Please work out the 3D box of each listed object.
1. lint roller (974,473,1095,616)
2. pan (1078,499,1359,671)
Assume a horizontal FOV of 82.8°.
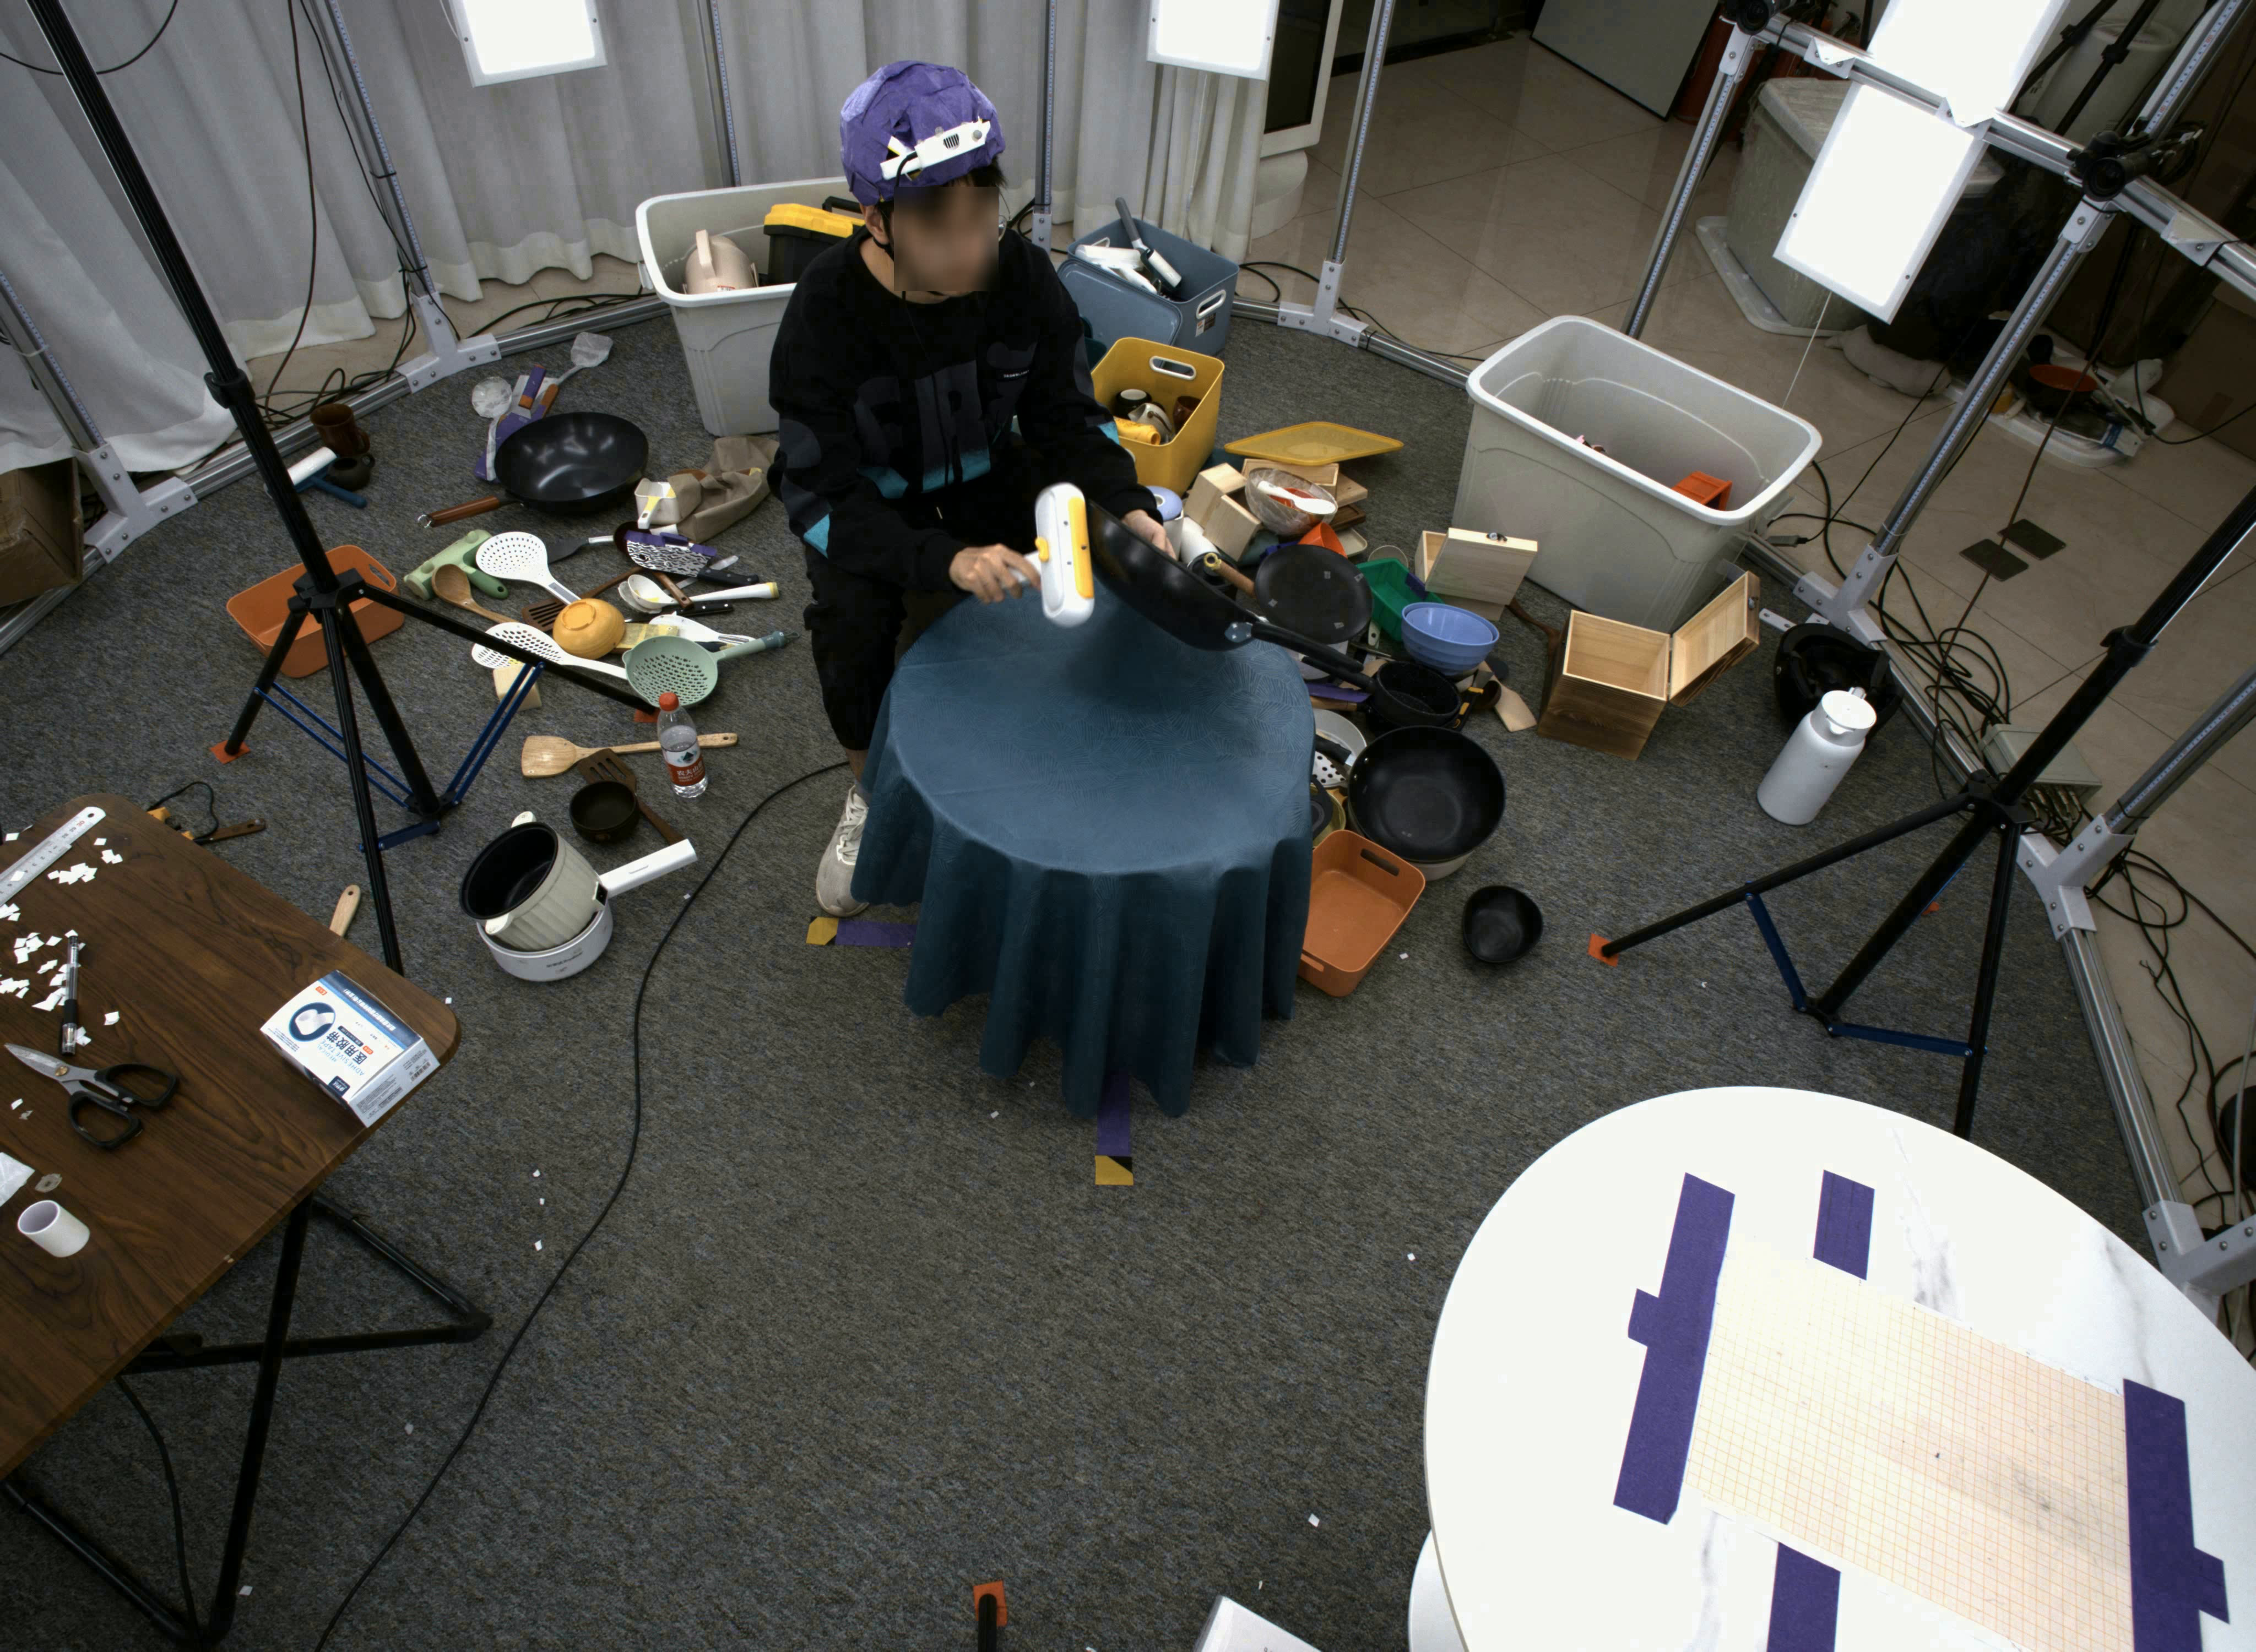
[{"bbox_3d":[-0.131,-0.357,1.745,0.074,0.191,0.195,-3,76,-44],"label":"lint roller"},{"bbox_3d":[0.103,-0.291,1.729,0.485,0.111,0.307,41,14,32],"label":"pan"}]
